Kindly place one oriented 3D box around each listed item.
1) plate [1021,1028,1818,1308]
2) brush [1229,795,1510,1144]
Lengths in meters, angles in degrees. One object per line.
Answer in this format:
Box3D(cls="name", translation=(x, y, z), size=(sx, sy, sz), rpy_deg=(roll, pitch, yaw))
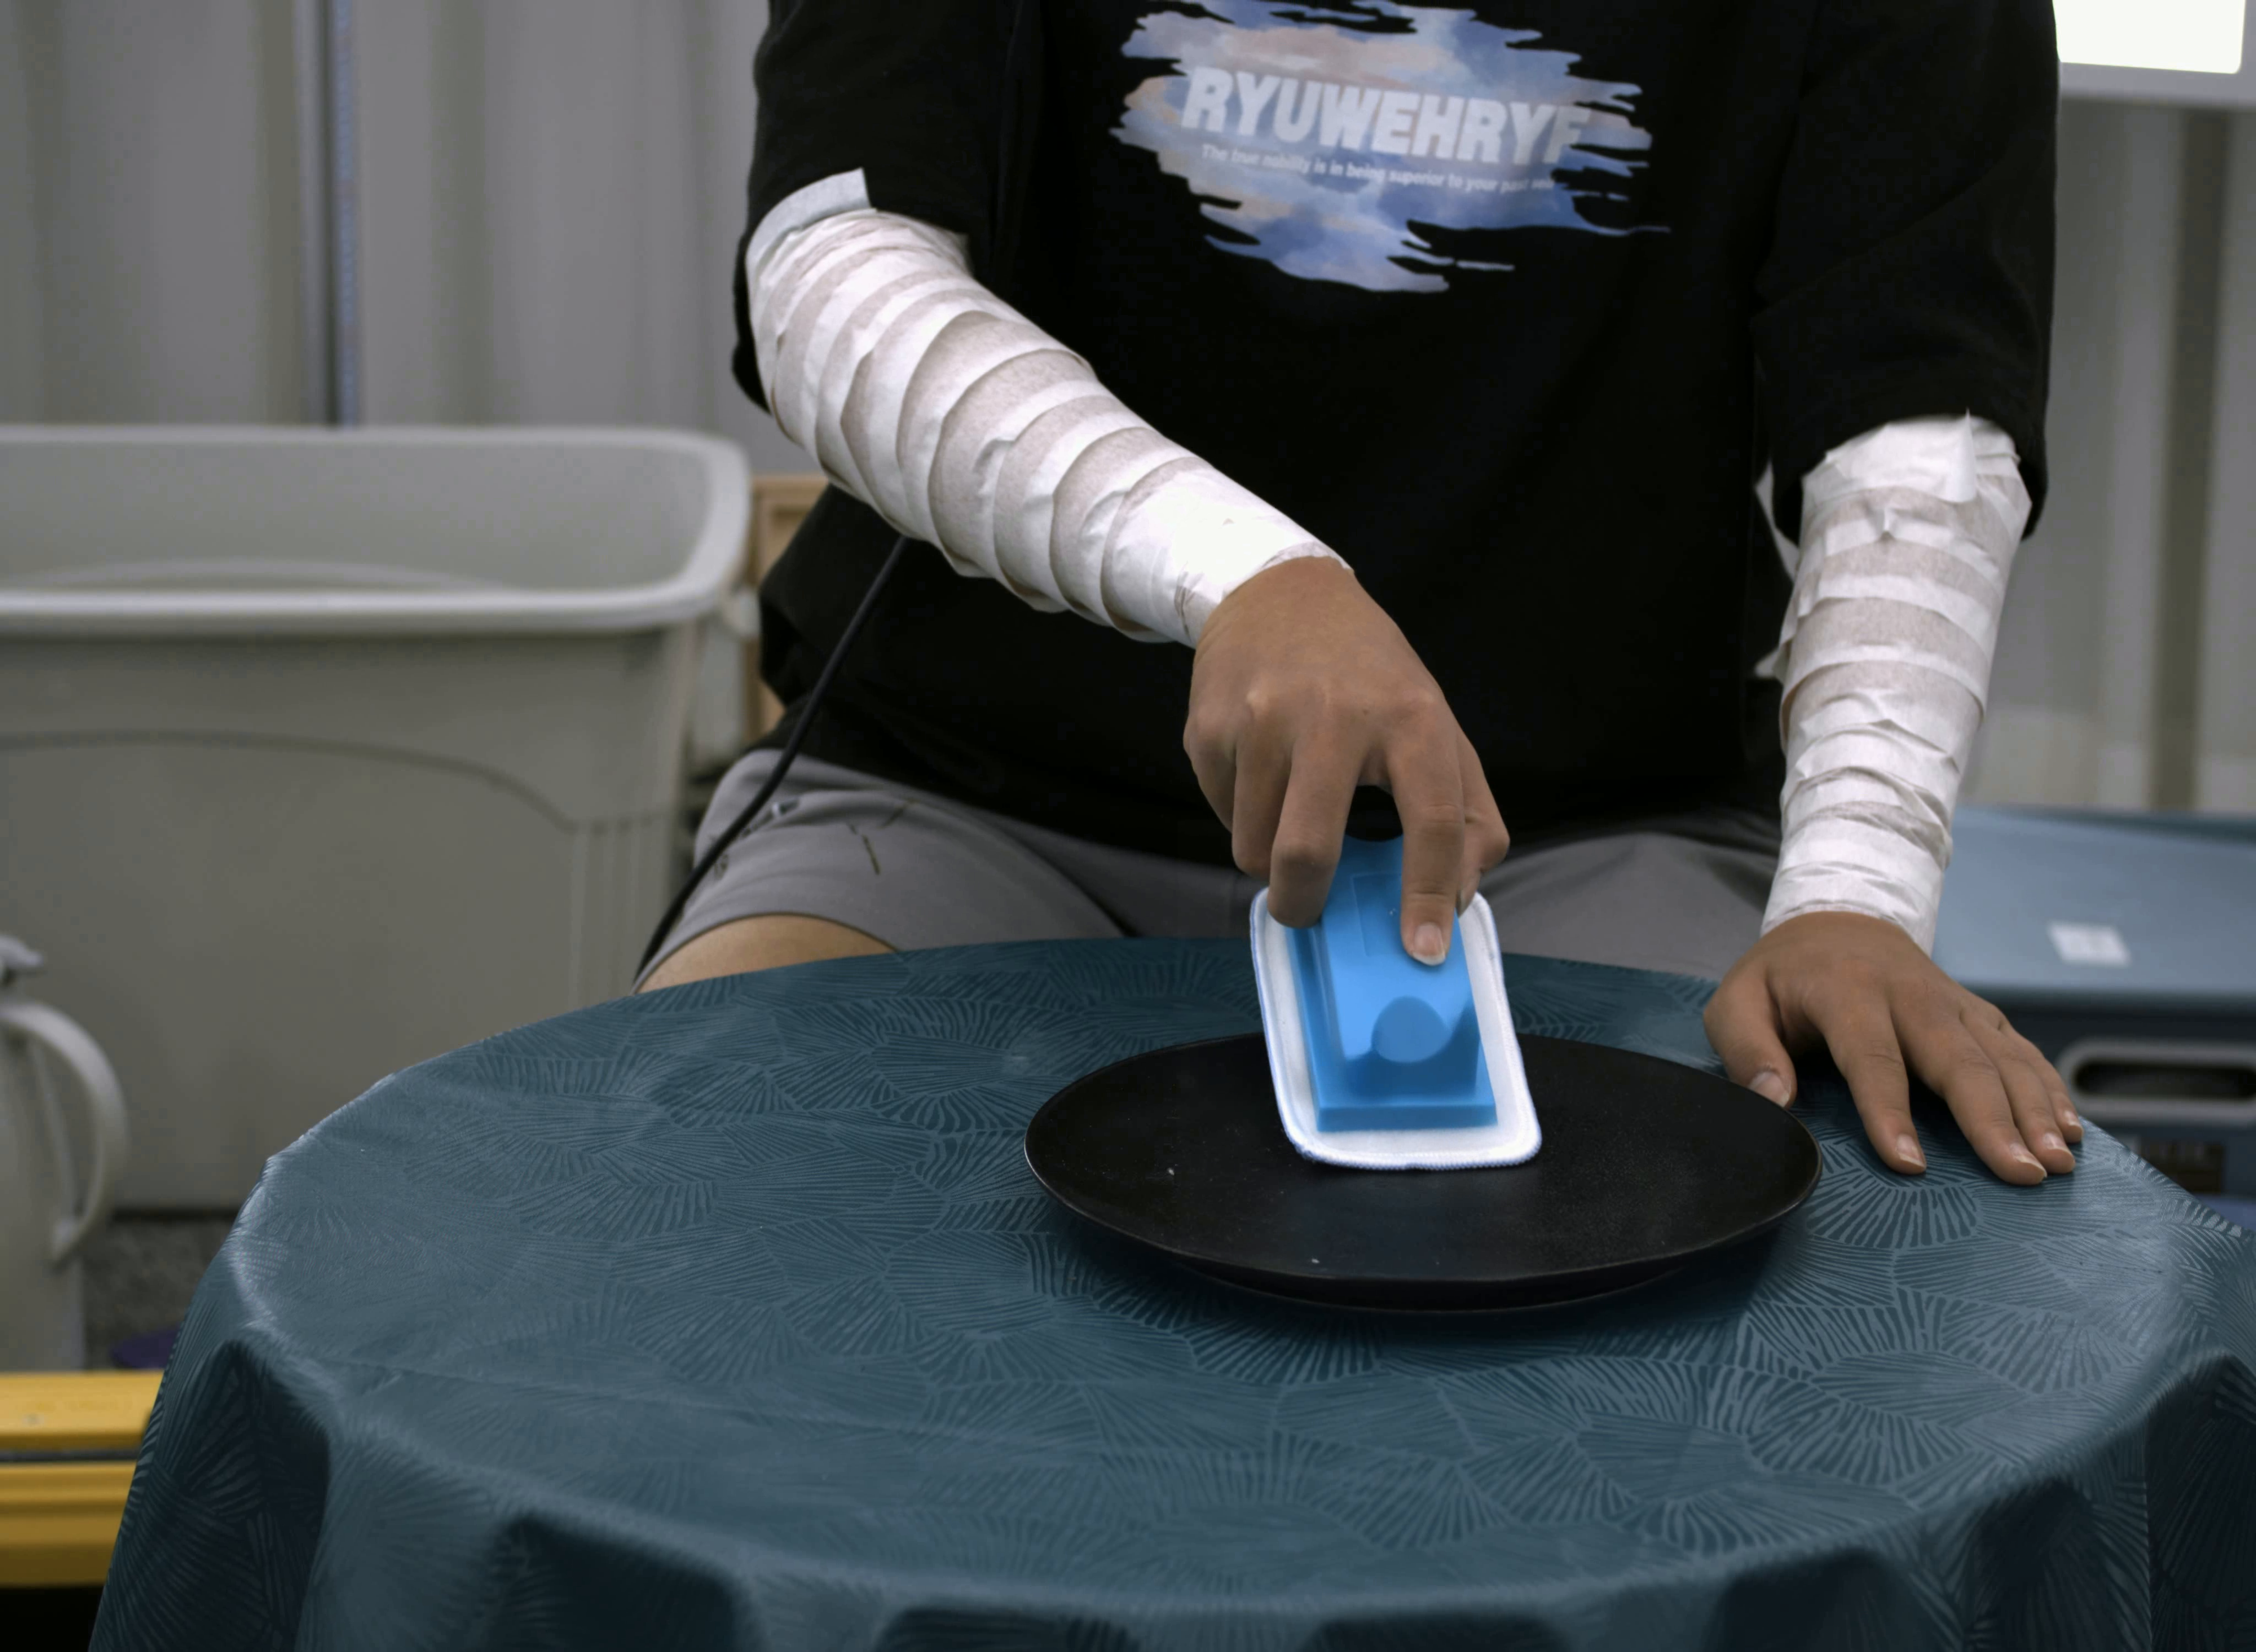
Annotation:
Box3D(cls="plate", translation=(0.088, 0.106, 1.606), size=(0.243, 0.023, 0.243), rpy_deg=(1, 15, 0))
Box3D(cls="brush", translation=(0.080, 0.039, 1.667), size=(0.084, 0.056, 0.142), rpy_deg=(4, 39, -9))
